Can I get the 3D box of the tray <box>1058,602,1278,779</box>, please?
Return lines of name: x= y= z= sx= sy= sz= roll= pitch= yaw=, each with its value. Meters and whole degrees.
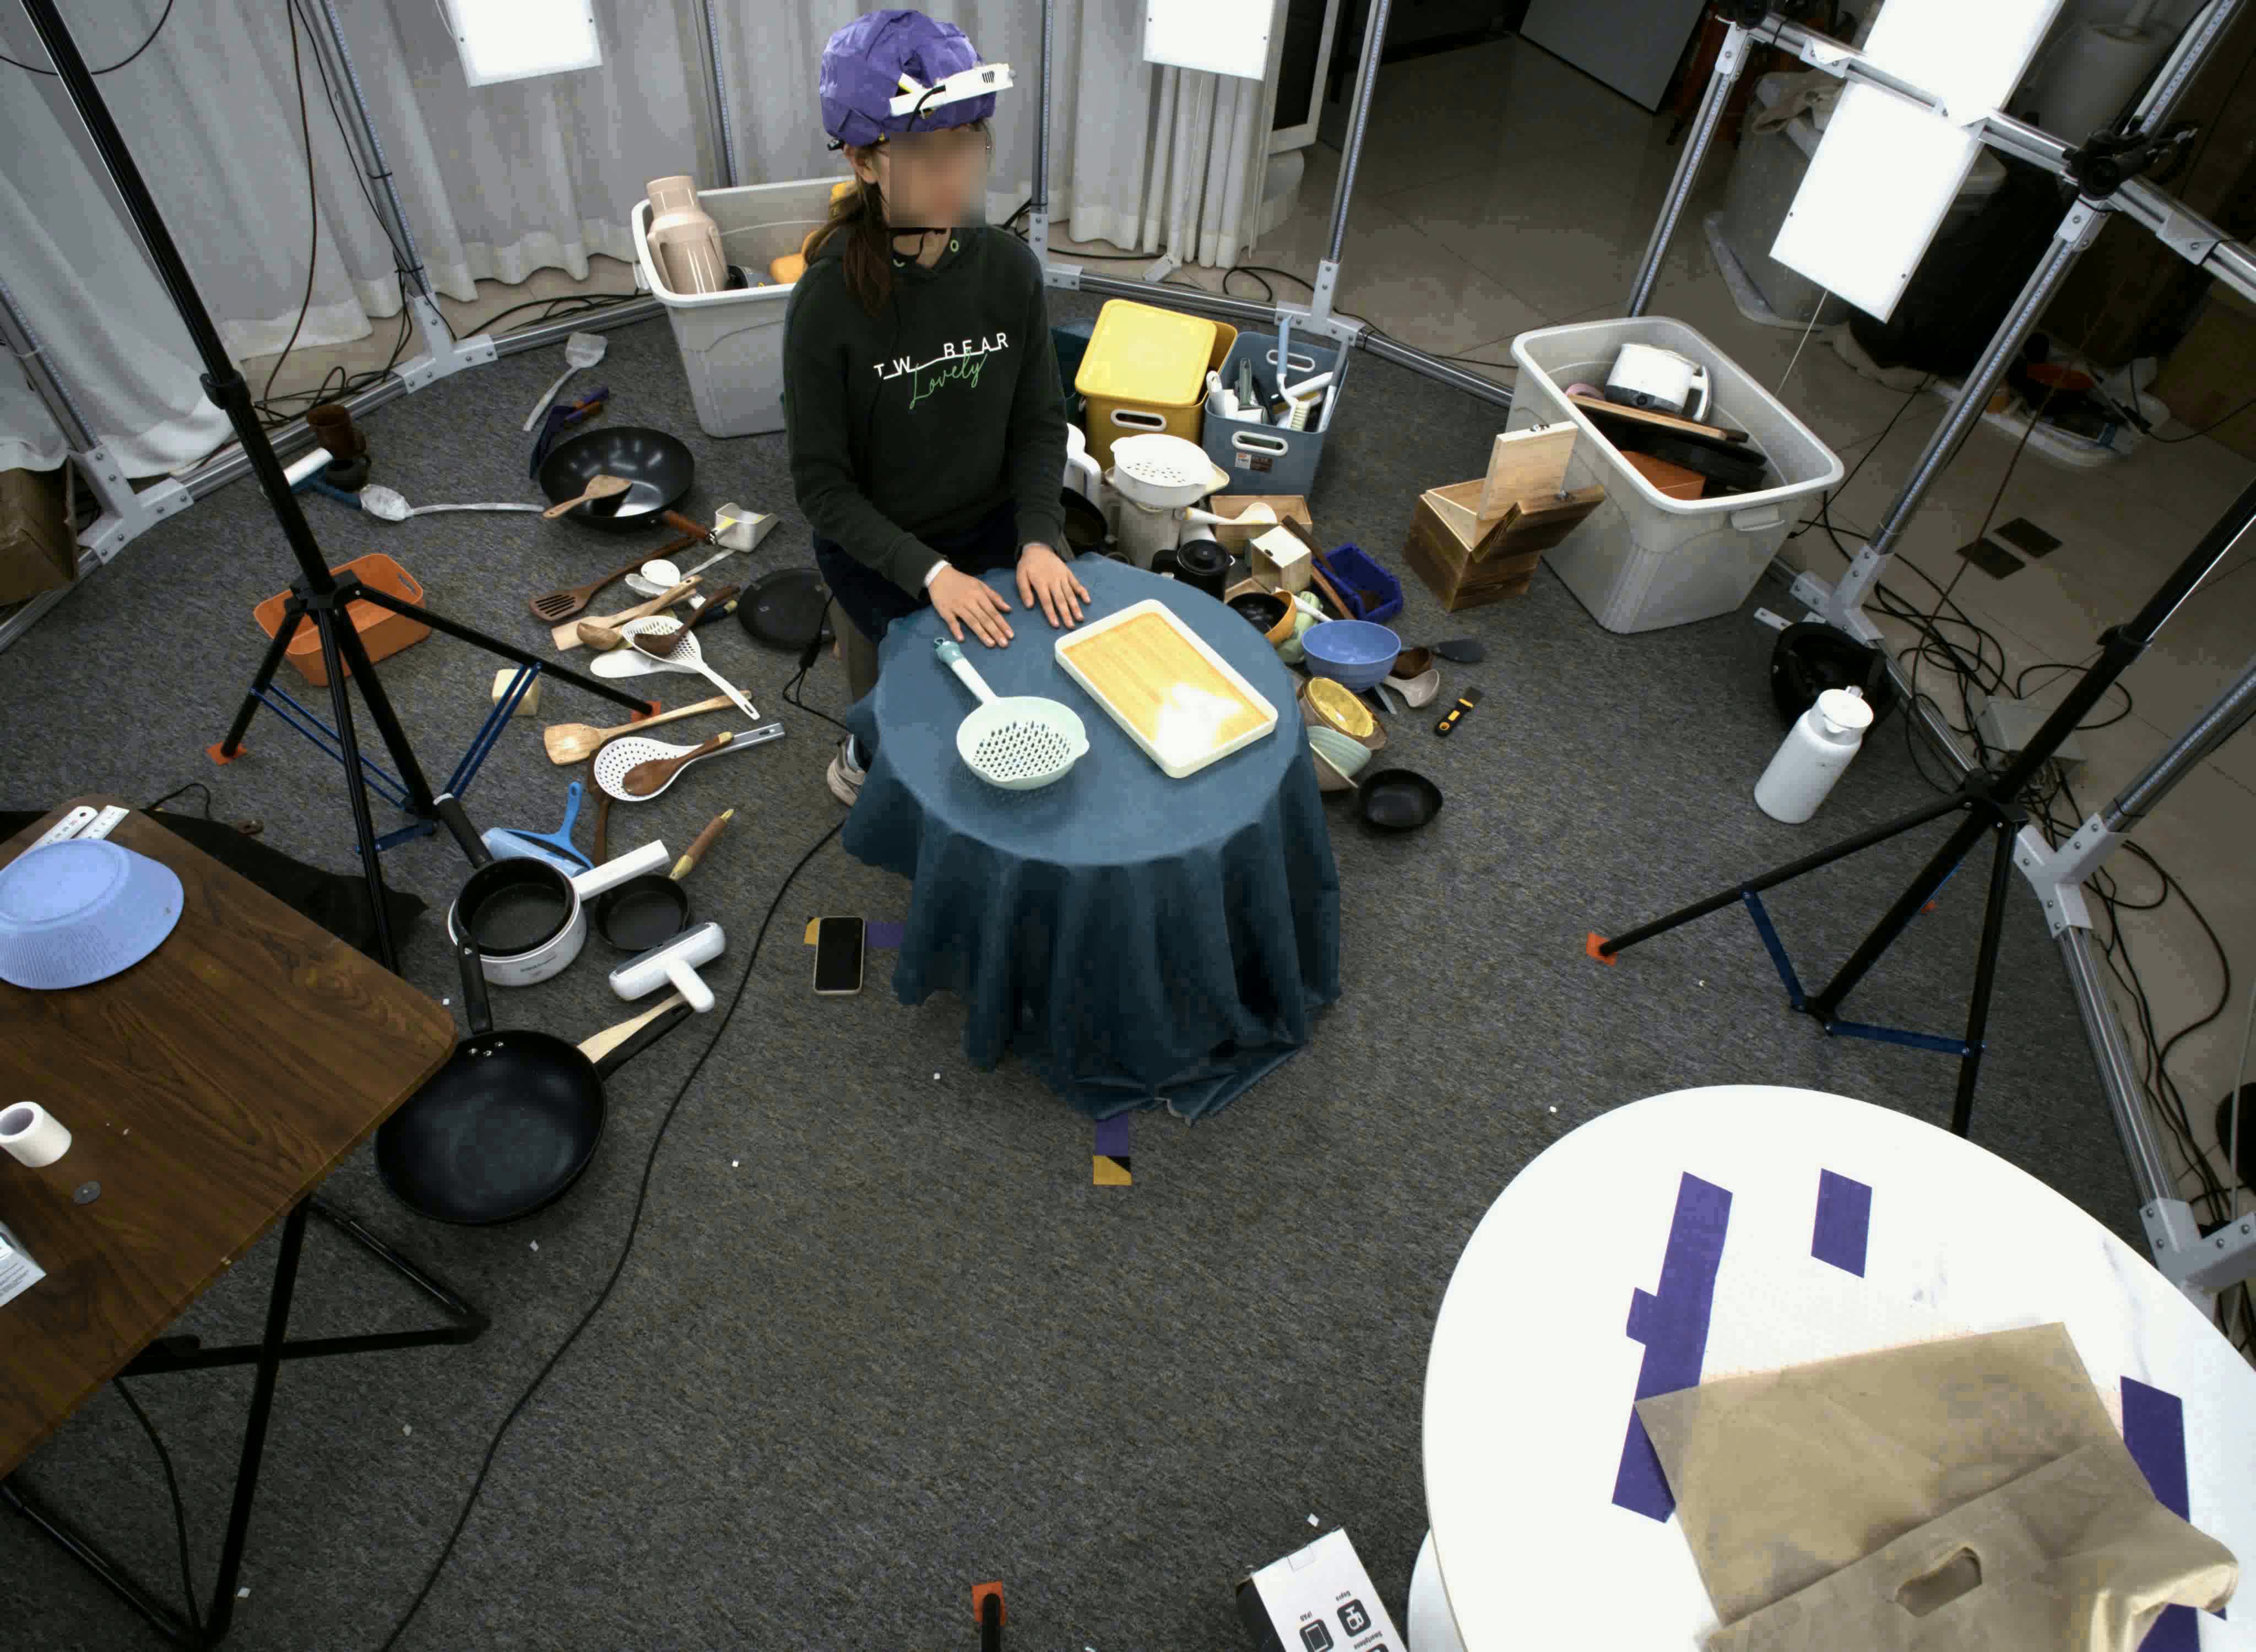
tray: x=0.053 y=-0.201 z=1.846 sx=0.192 sy=0.027 sz=0.306 roll=-27 pitch=56 yaw=-24

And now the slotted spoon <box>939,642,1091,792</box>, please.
slotted spoon: x=-0.187 y=-0.167 z=1.775 sx=0.170 sy=0.073 sz=0.366 roll=-20 pitch=53 yaw=-21
